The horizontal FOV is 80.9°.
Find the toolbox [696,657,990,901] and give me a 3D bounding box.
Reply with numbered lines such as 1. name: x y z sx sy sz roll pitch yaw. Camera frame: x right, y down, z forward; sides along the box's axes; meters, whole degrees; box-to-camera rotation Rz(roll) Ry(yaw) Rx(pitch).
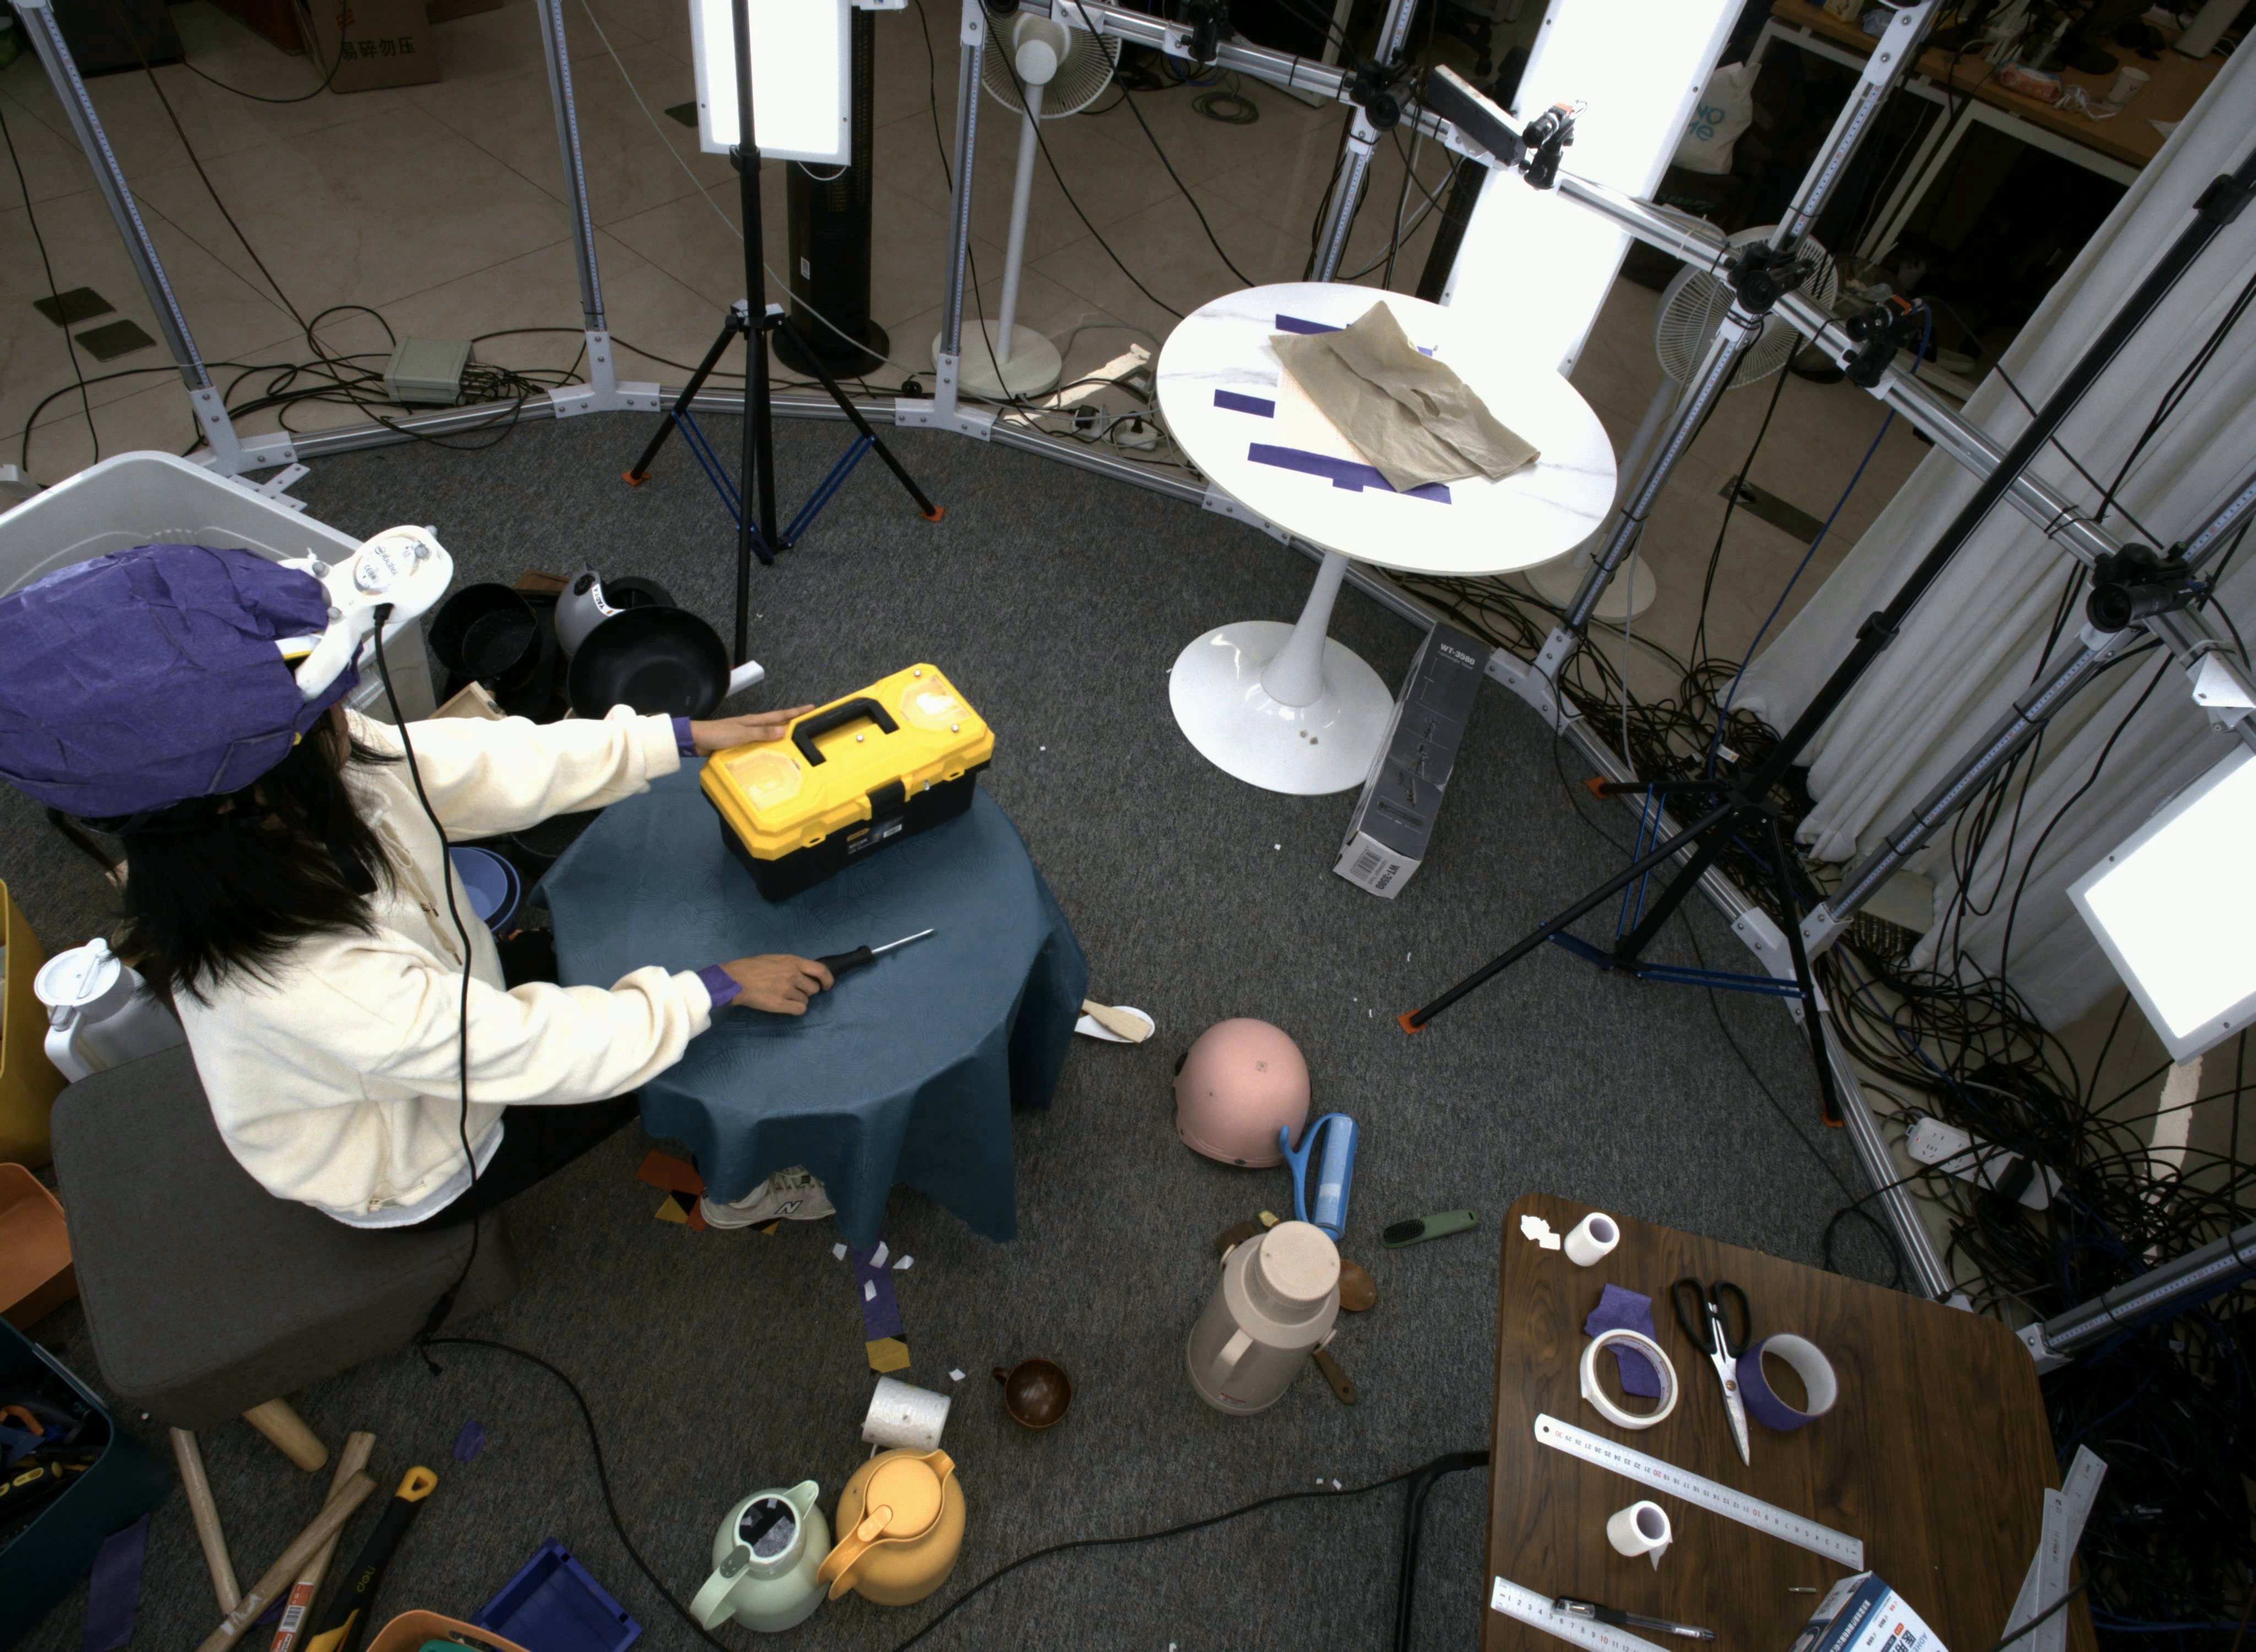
1. toolbox: -0.359 -0.060 1.669 0.353 0.176 0.177 -28 64 -30

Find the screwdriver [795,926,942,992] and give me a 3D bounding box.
1. screwdriver: -0.321 0.161 1.620 0.199 0.032 0.030 -18 58 -31
